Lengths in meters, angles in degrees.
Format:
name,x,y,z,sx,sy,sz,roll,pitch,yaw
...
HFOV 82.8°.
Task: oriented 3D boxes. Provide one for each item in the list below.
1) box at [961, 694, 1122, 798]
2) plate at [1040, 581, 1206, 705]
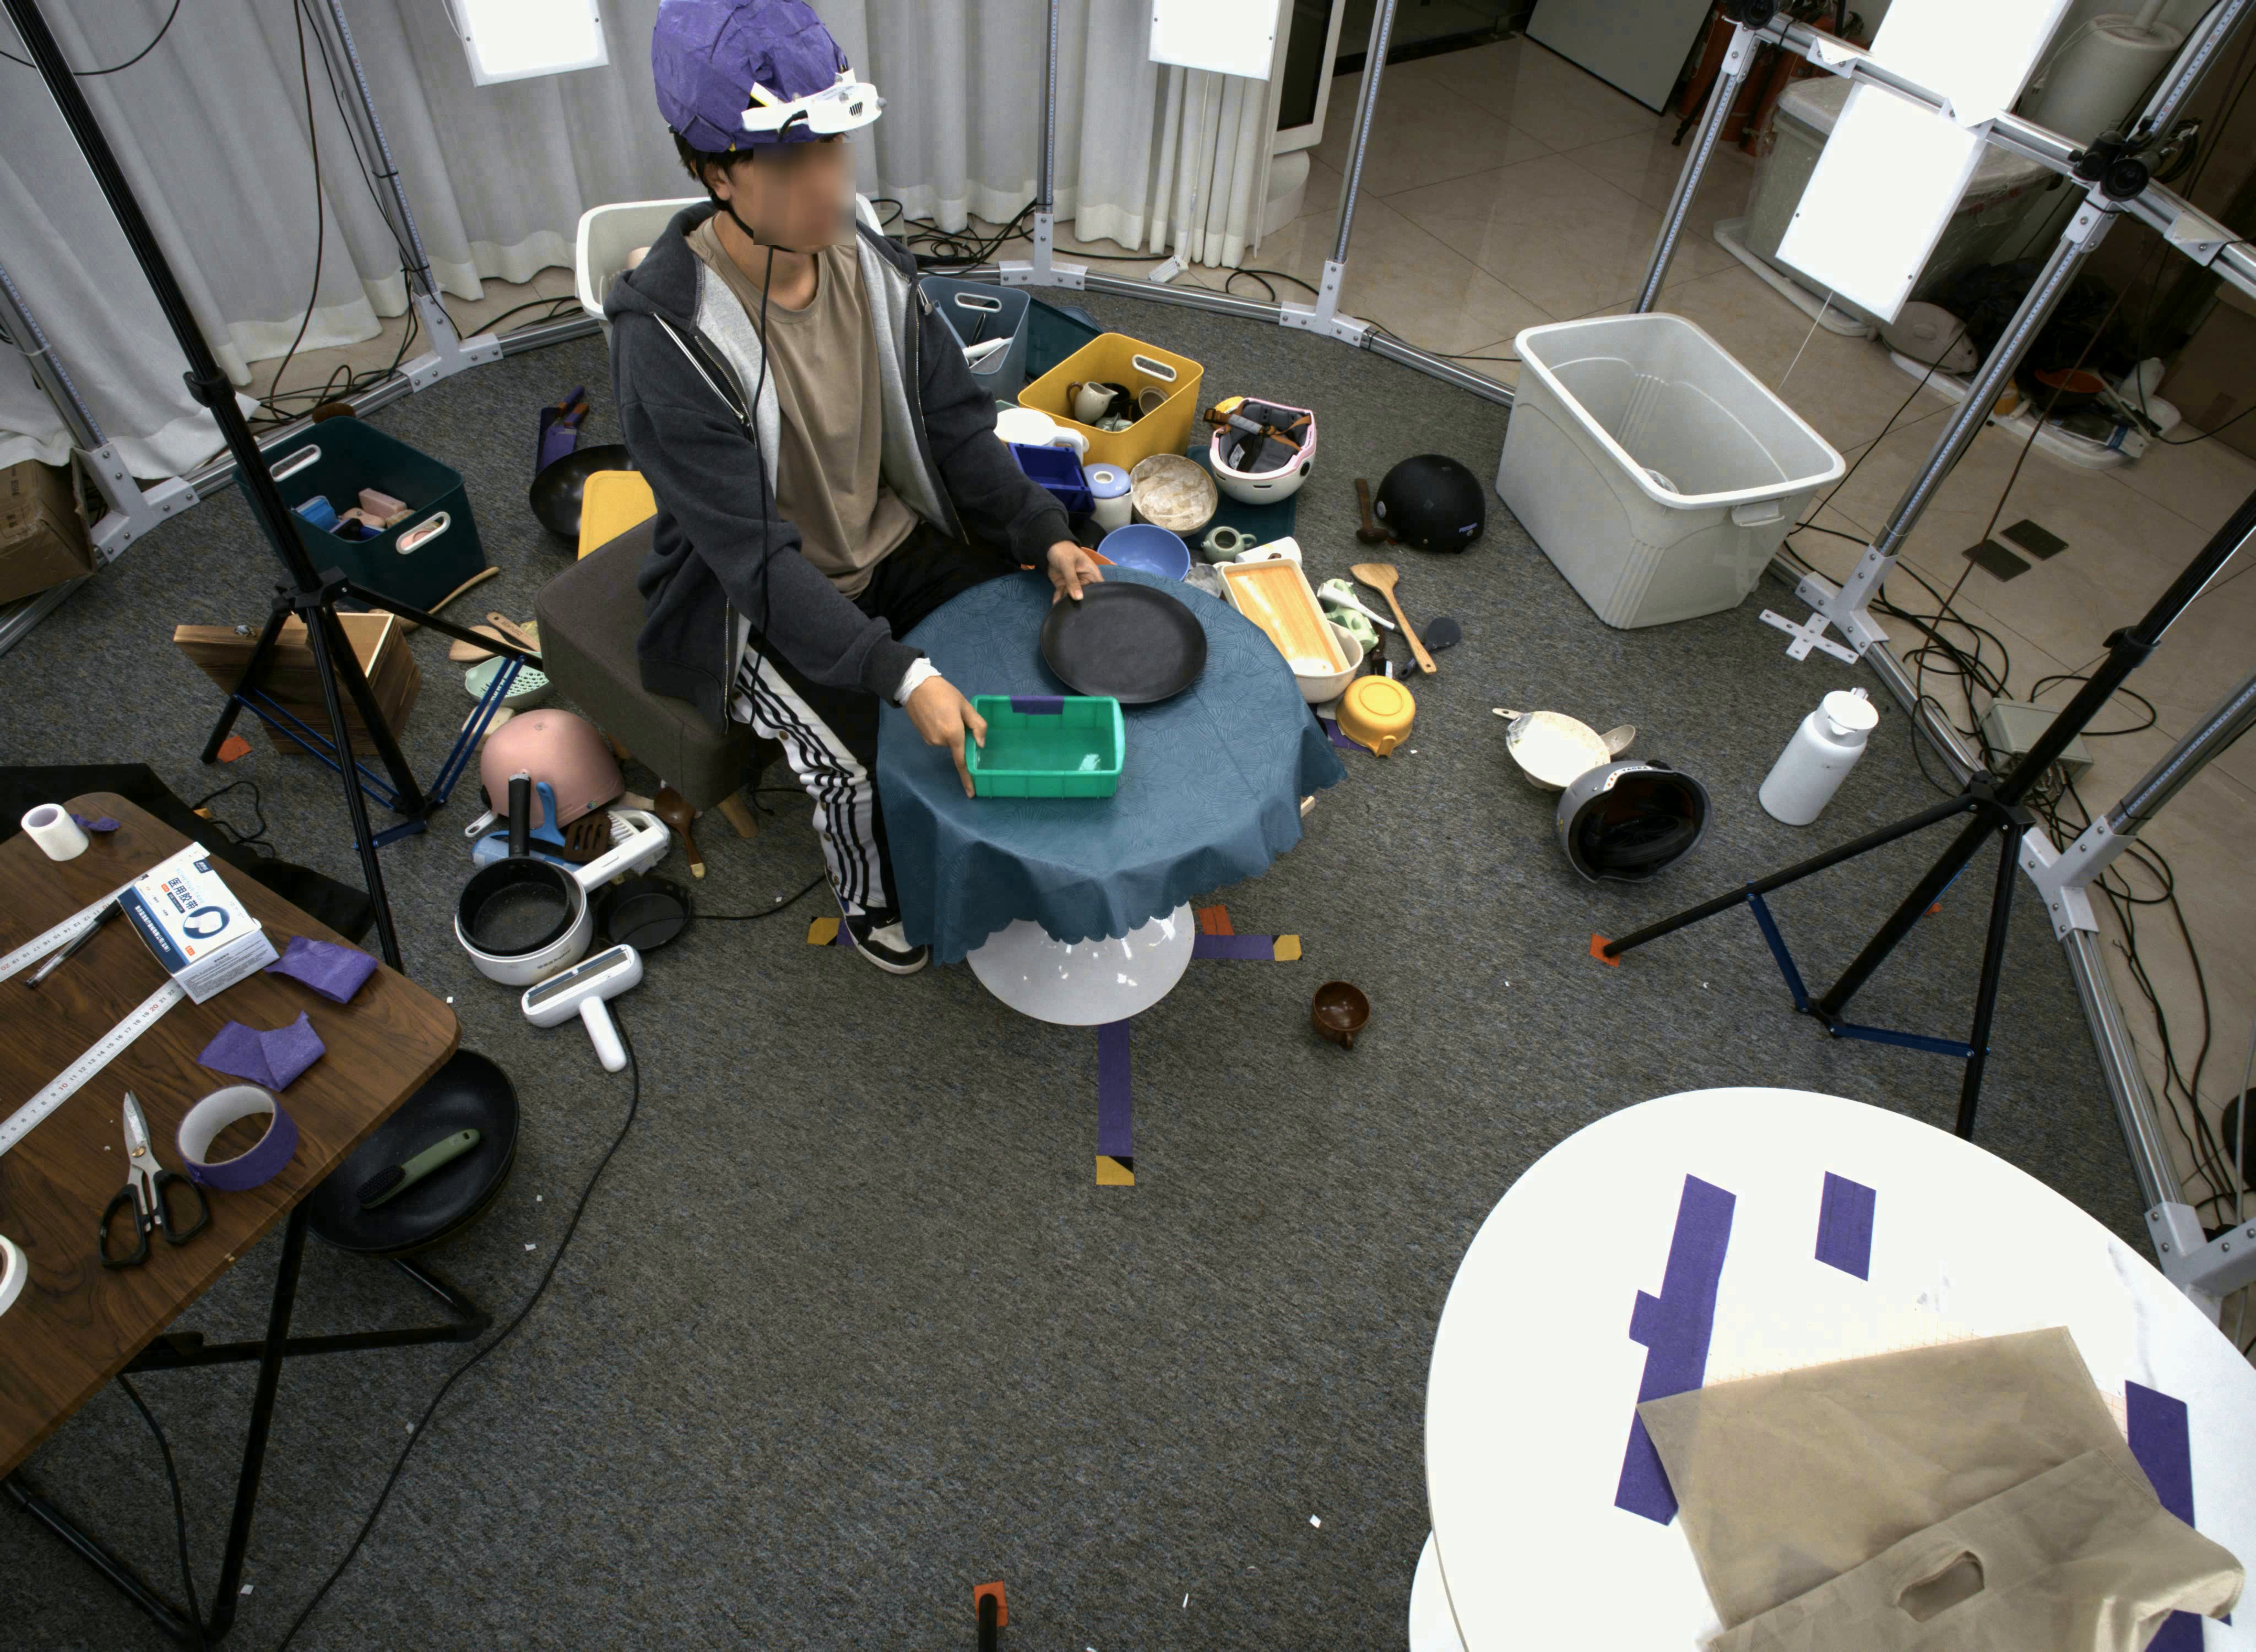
name,x,y,z,sx,sy,sz,roll,pitch,yaw
box,-0.114,-0.104,1.701,0.210,0.064,0.142,-2,51,-2
plate,-0.007,-0.264,1.872,0.244,0.023,0.250,3,53,-4
